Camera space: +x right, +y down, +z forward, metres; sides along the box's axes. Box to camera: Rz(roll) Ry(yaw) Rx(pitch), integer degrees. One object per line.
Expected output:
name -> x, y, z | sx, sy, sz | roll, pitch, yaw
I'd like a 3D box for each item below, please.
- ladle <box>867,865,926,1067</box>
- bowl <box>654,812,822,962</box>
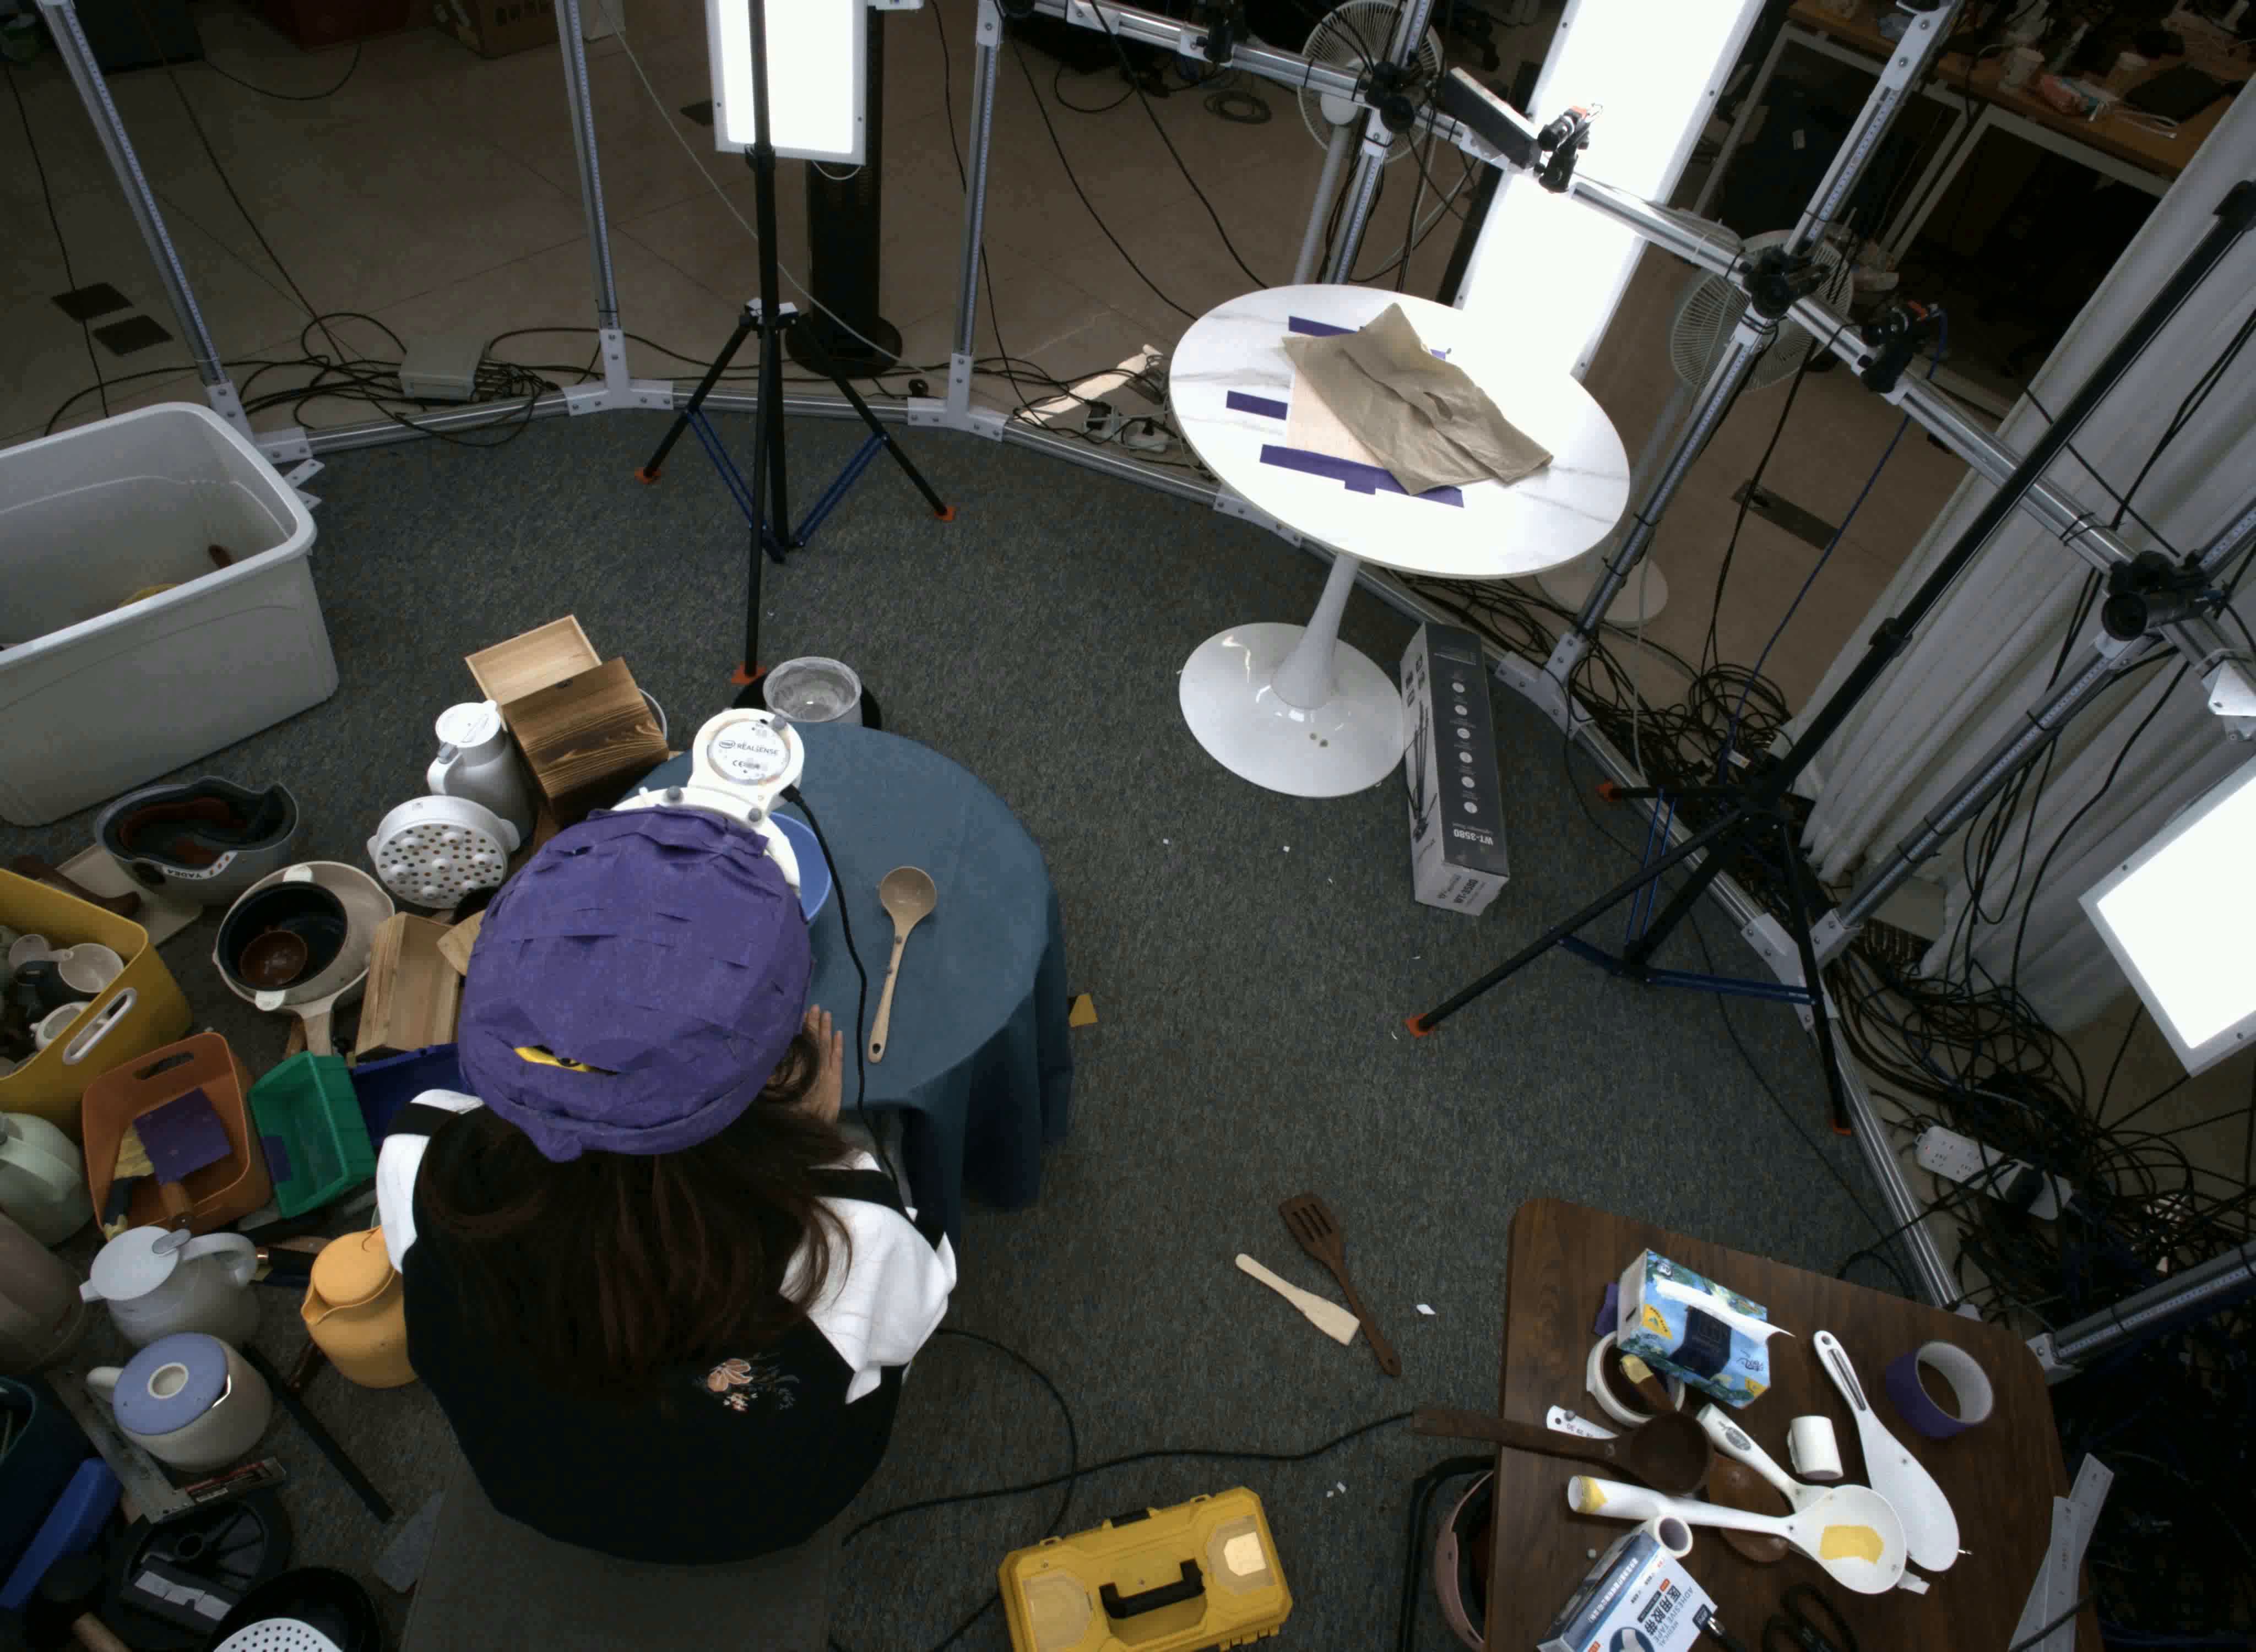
ladle -> -0.294, 0.160, 1.586 | 0.072, 0.074, 0.250 | 7, 52, -6
bowl -> -0.475, 0.088, 1.582 | 0.196, 0.097, 0.193 | 9, 52, -10
